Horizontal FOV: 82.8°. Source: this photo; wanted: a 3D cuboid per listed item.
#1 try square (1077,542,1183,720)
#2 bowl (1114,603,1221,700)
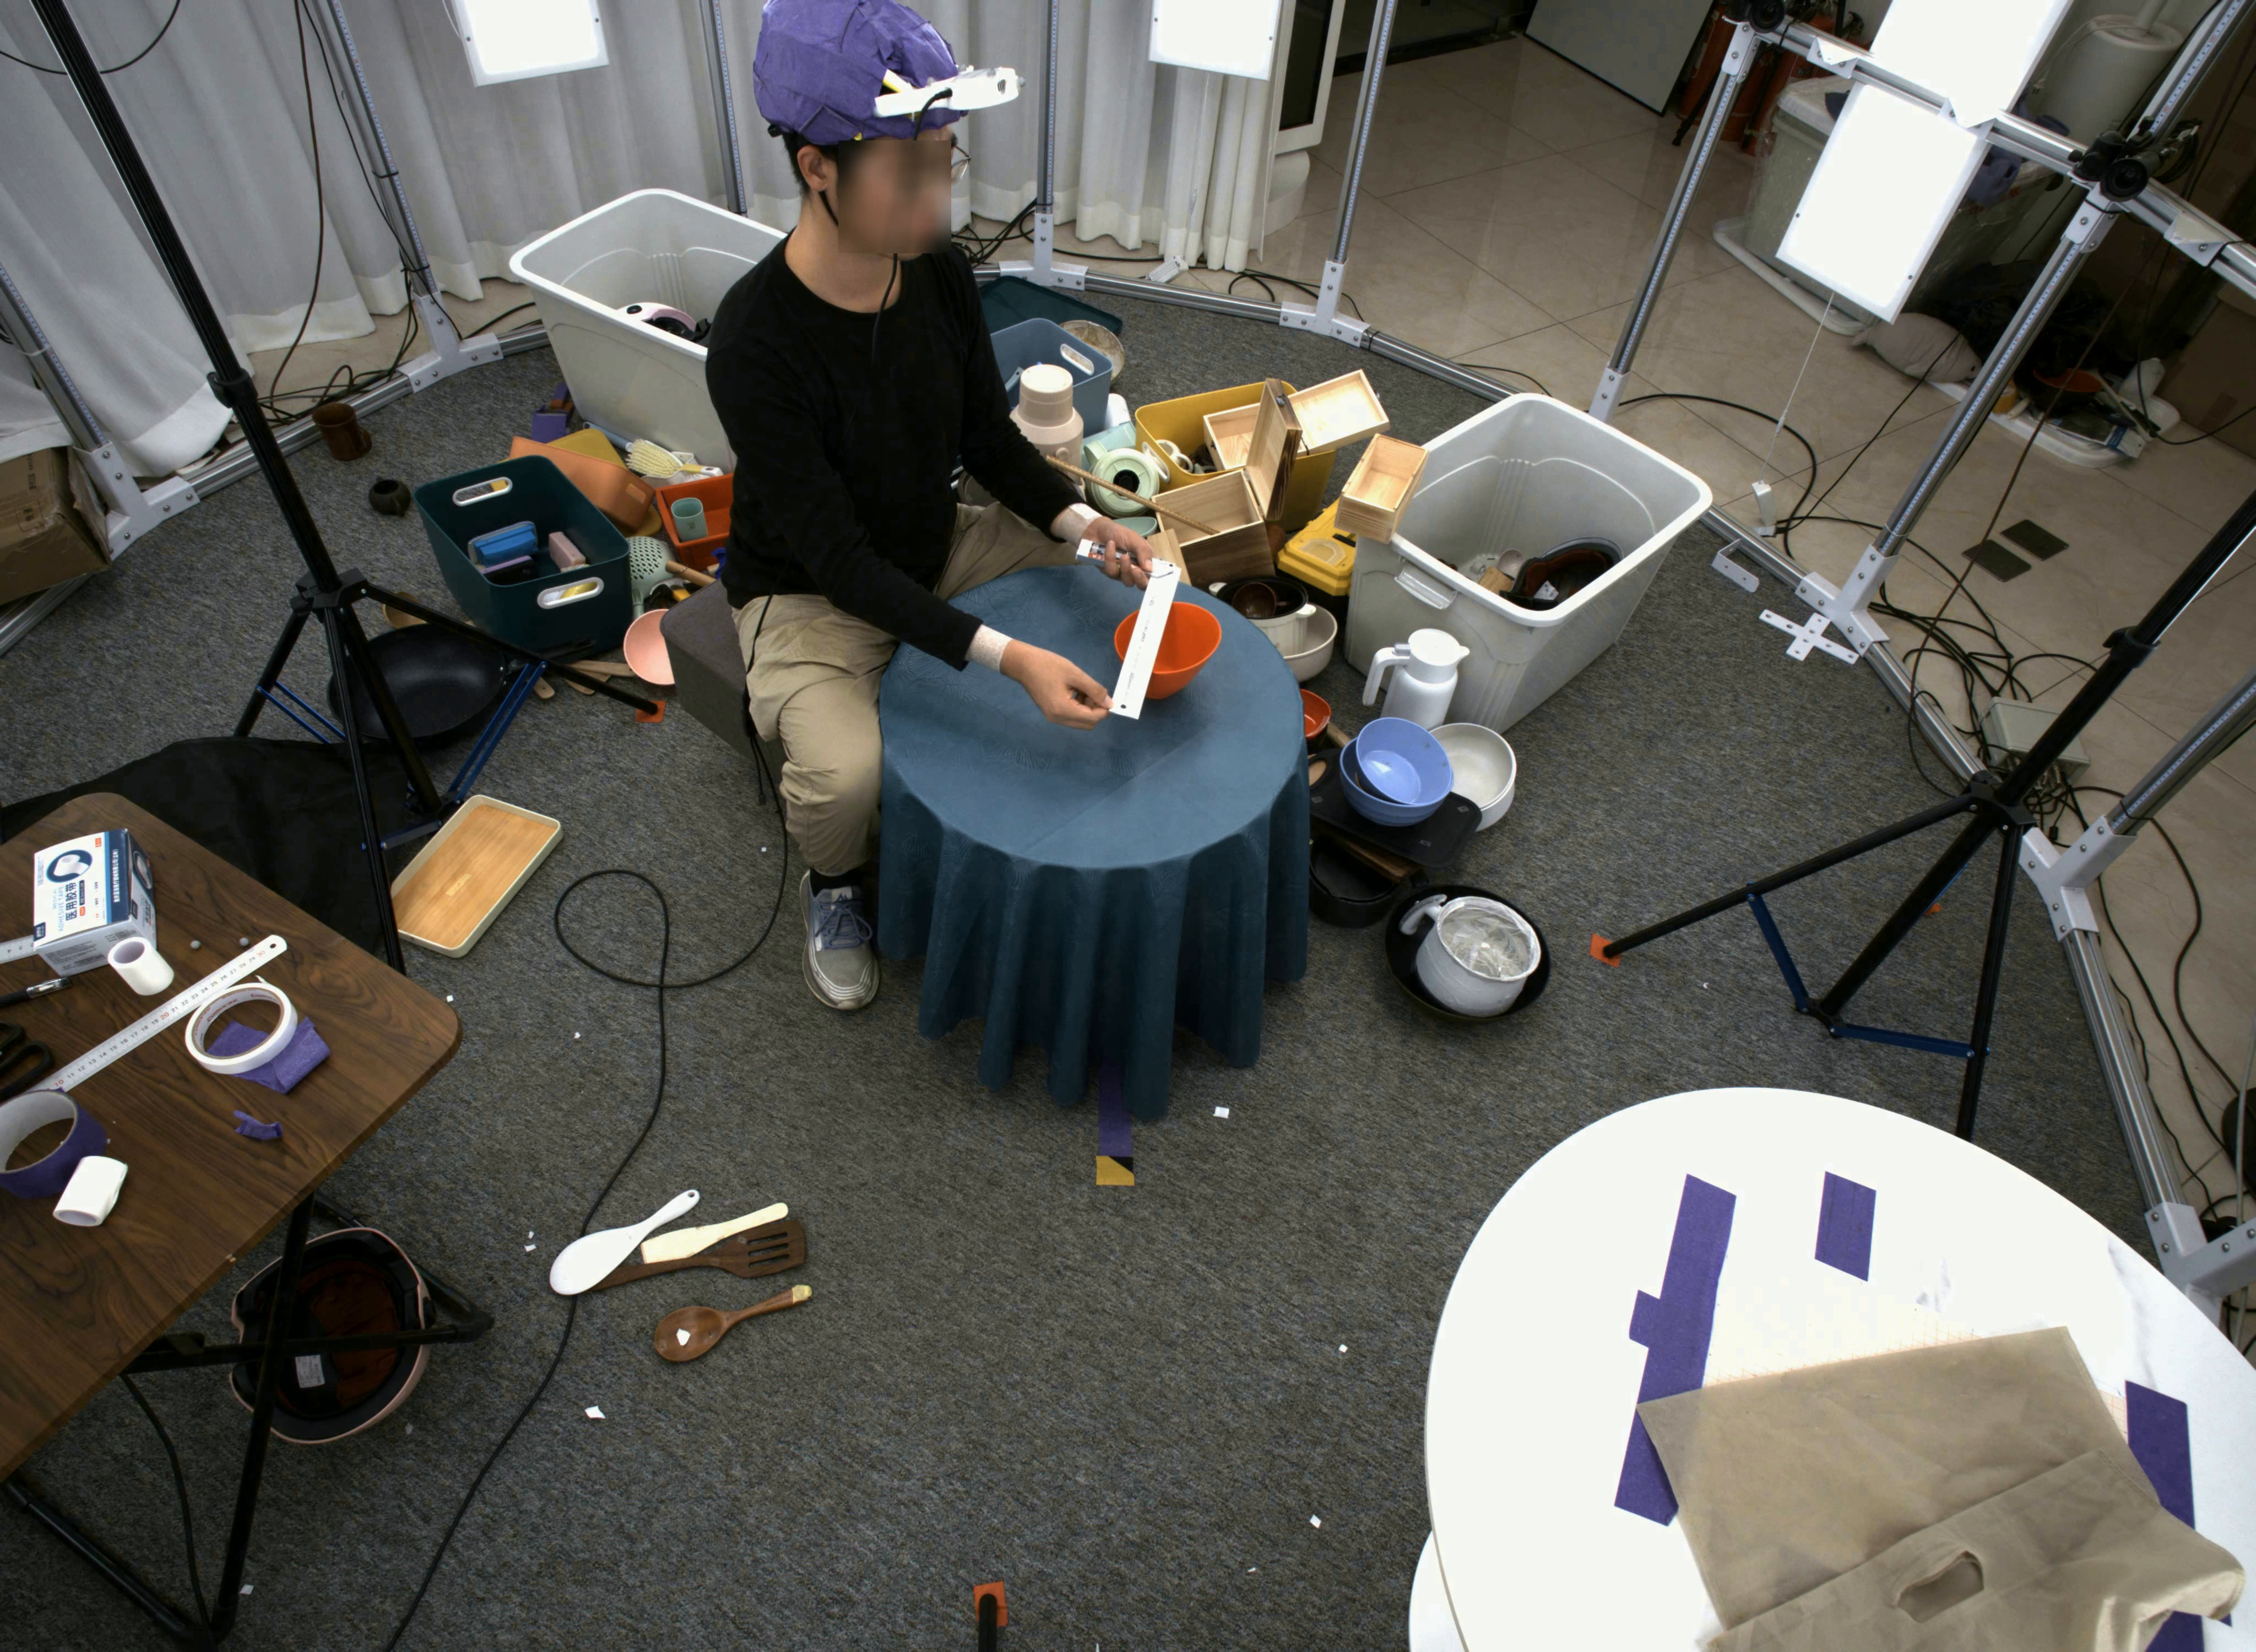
[{"bbox_3d":[-0.025,-0.276,1.779,0.152,0.015,0.320,14,51,3],"label":"try square"},{"bbox_3d":[0.052,-0.235,1.813,0.148,0.102,0.152,1,50,-2],"label":"bowl"}]
